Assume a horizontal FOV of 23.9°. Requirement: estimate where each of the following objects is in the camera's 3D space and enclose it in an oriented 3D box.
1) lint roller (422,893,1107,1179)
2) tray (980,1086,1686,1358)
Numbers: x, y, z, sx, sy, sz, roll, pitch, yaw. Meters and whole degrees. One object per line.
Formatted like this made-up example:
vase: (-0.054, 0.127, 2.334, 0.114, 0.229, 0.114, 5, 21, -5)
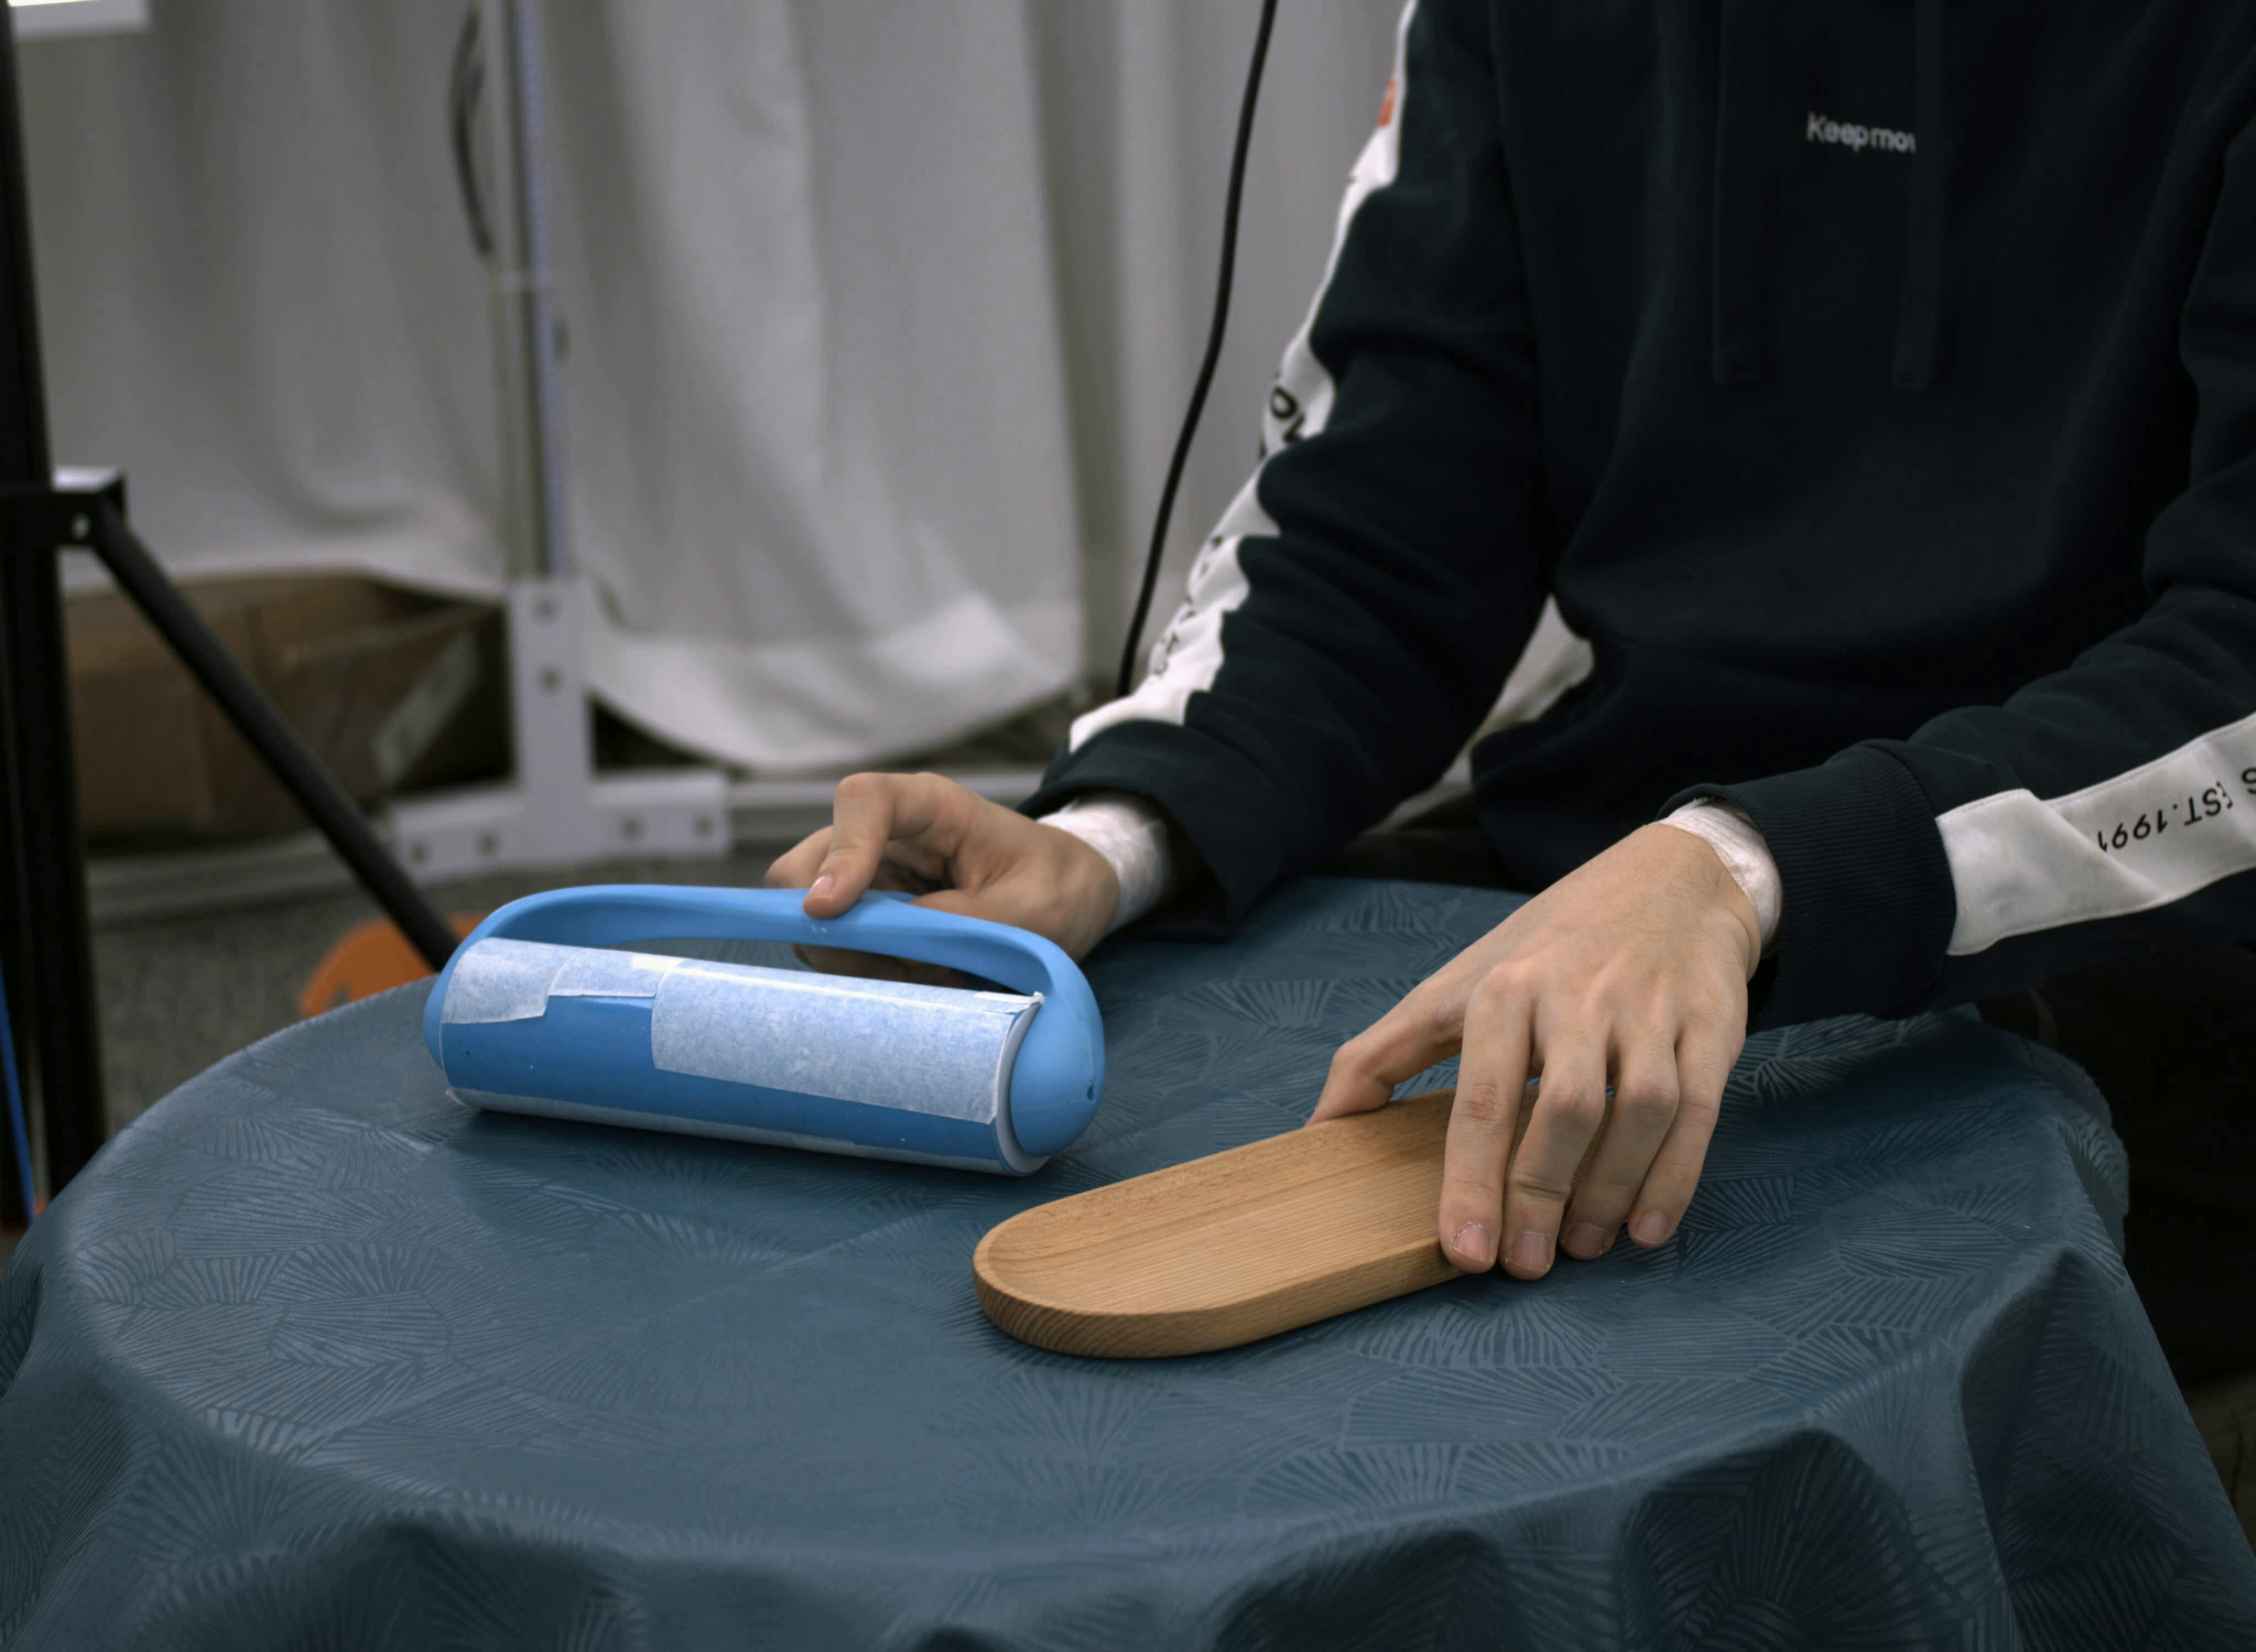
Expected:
lint roller: (-0.090, 0.053, 1.665, 0.232, 0.068, 0.178, 3, 17, 24)
tray: (0.061, 0.112, 1.507, 0.226, 0.020, 0.104, -12, 20, -35)
